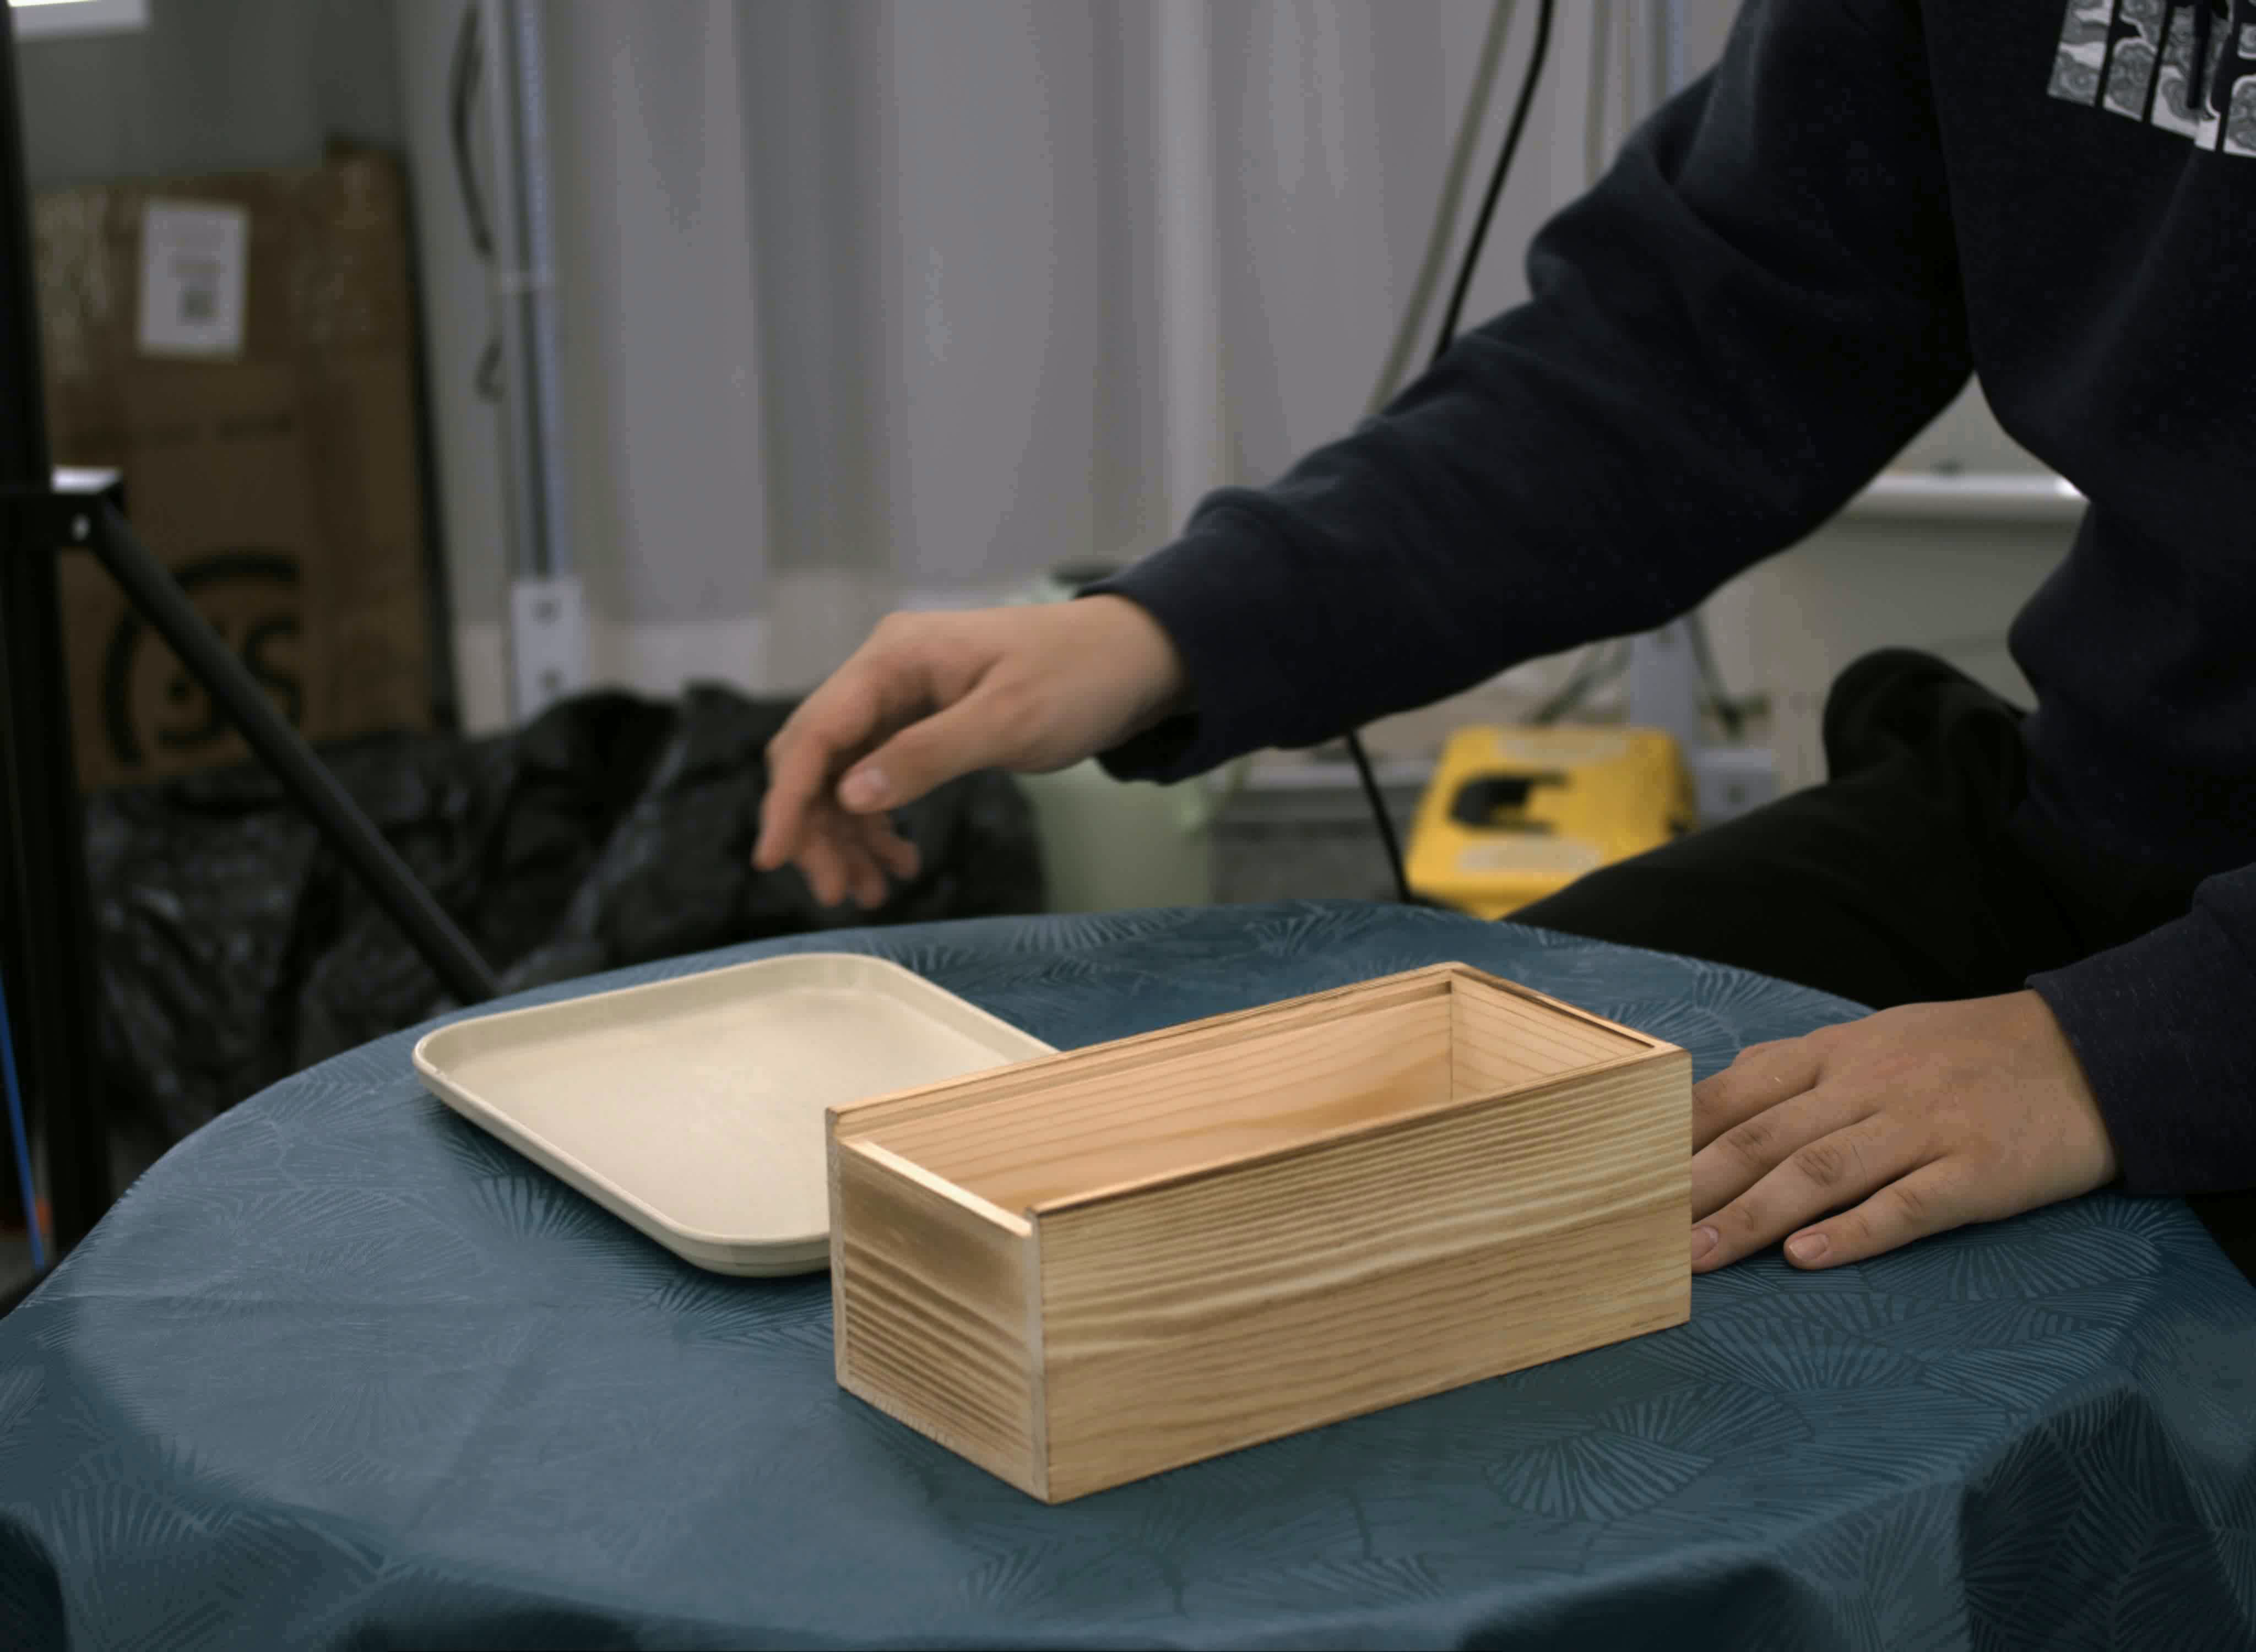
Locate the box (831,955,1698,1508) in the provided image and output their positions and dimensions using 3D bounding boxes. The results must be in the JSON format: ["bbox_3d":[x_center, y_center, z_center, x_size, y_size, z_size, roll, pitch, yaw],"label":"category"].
[{"bbox_3d":[0.038,0.104,1.418,0.206,0.080,0.110,-12,19,-31],"label":"box"}]

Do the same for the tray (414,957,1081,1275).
[{"bbox_3d":[-0.101,0.086,1.616,0.167,0.017,0.245,-10,18,-28],"label":"tray"}]
